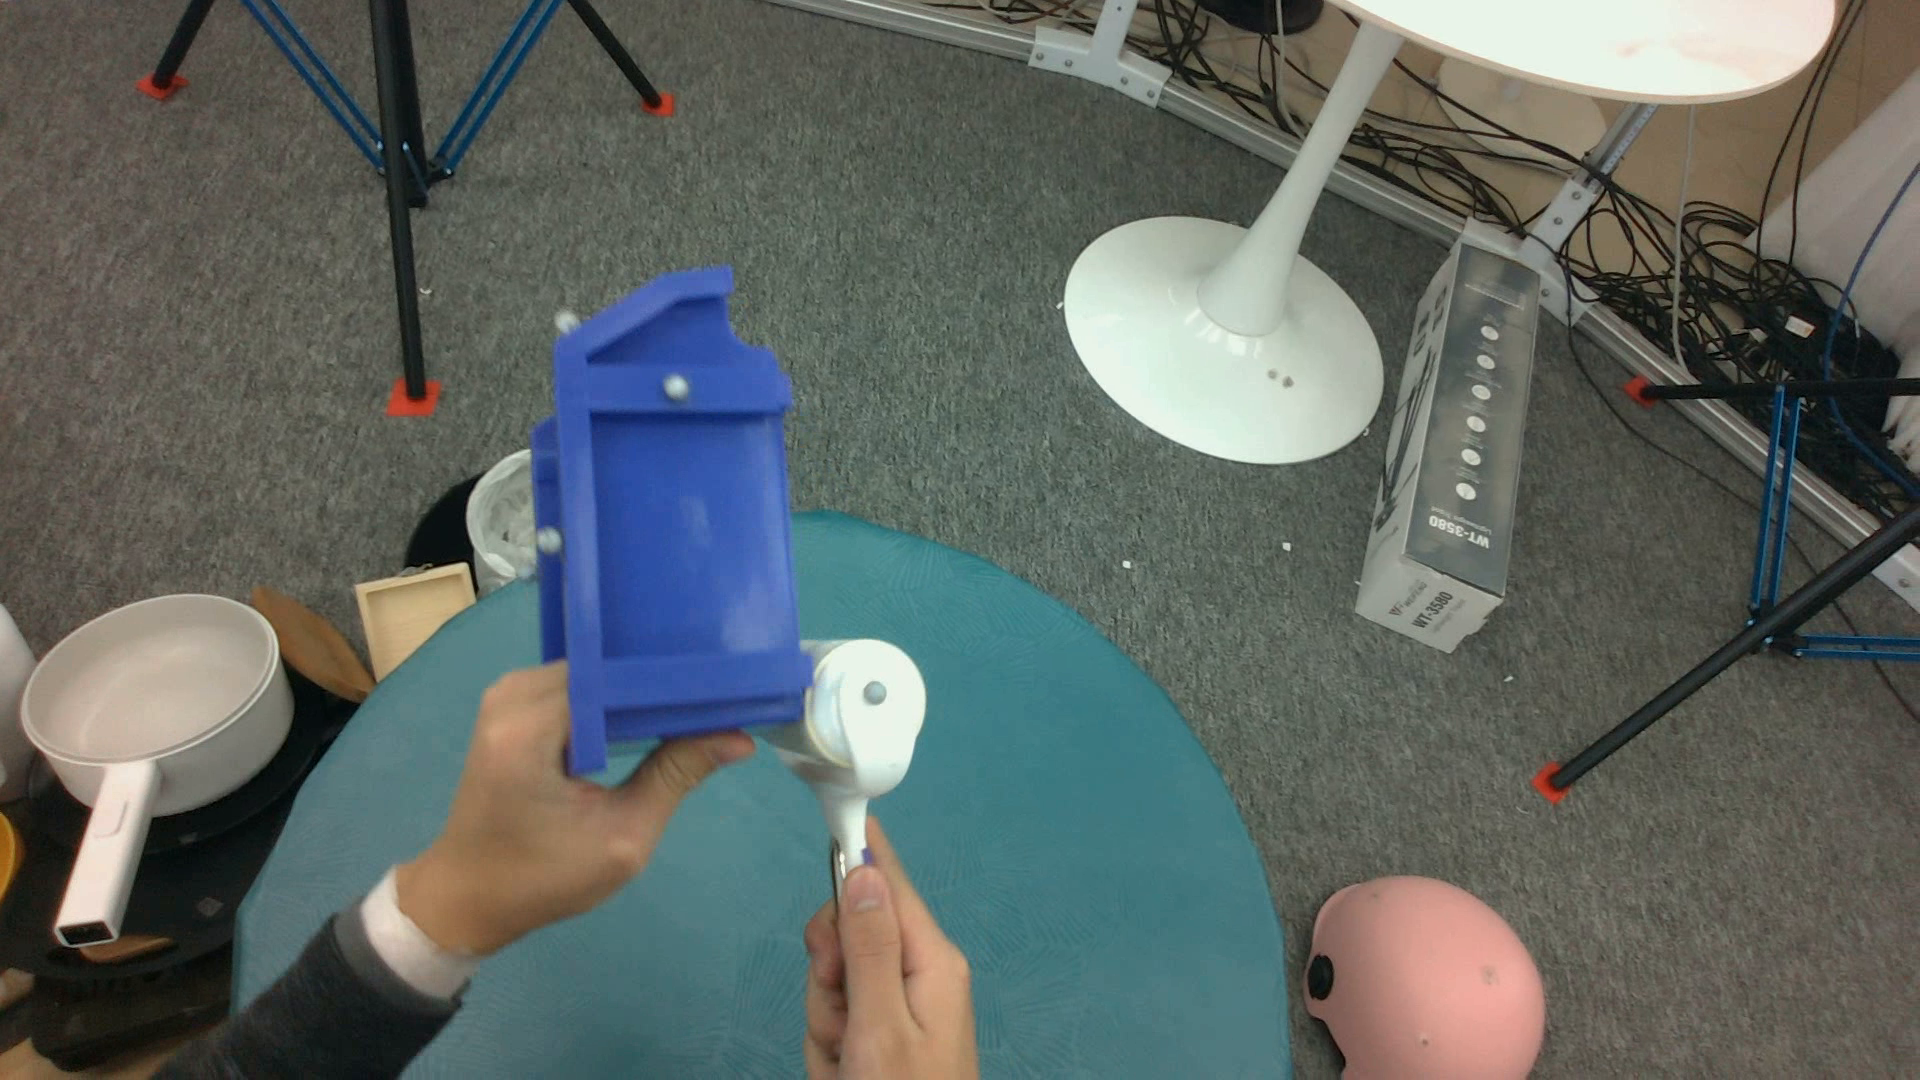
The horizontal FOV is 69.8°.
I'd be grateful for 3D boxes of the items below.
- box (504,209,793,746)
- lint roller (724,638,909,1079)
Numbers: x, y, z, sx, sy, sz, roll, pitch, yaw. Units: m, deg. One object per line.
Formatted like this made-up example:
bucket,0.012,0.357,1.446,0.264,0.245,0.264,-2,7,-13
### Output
box,-0.125,-0.019,0.529,0.082,0.124,0.179,-4,80,-23
lint roller,-0.039,0.125,0.540,0.050,0.132,0.181,-18,91,-24
